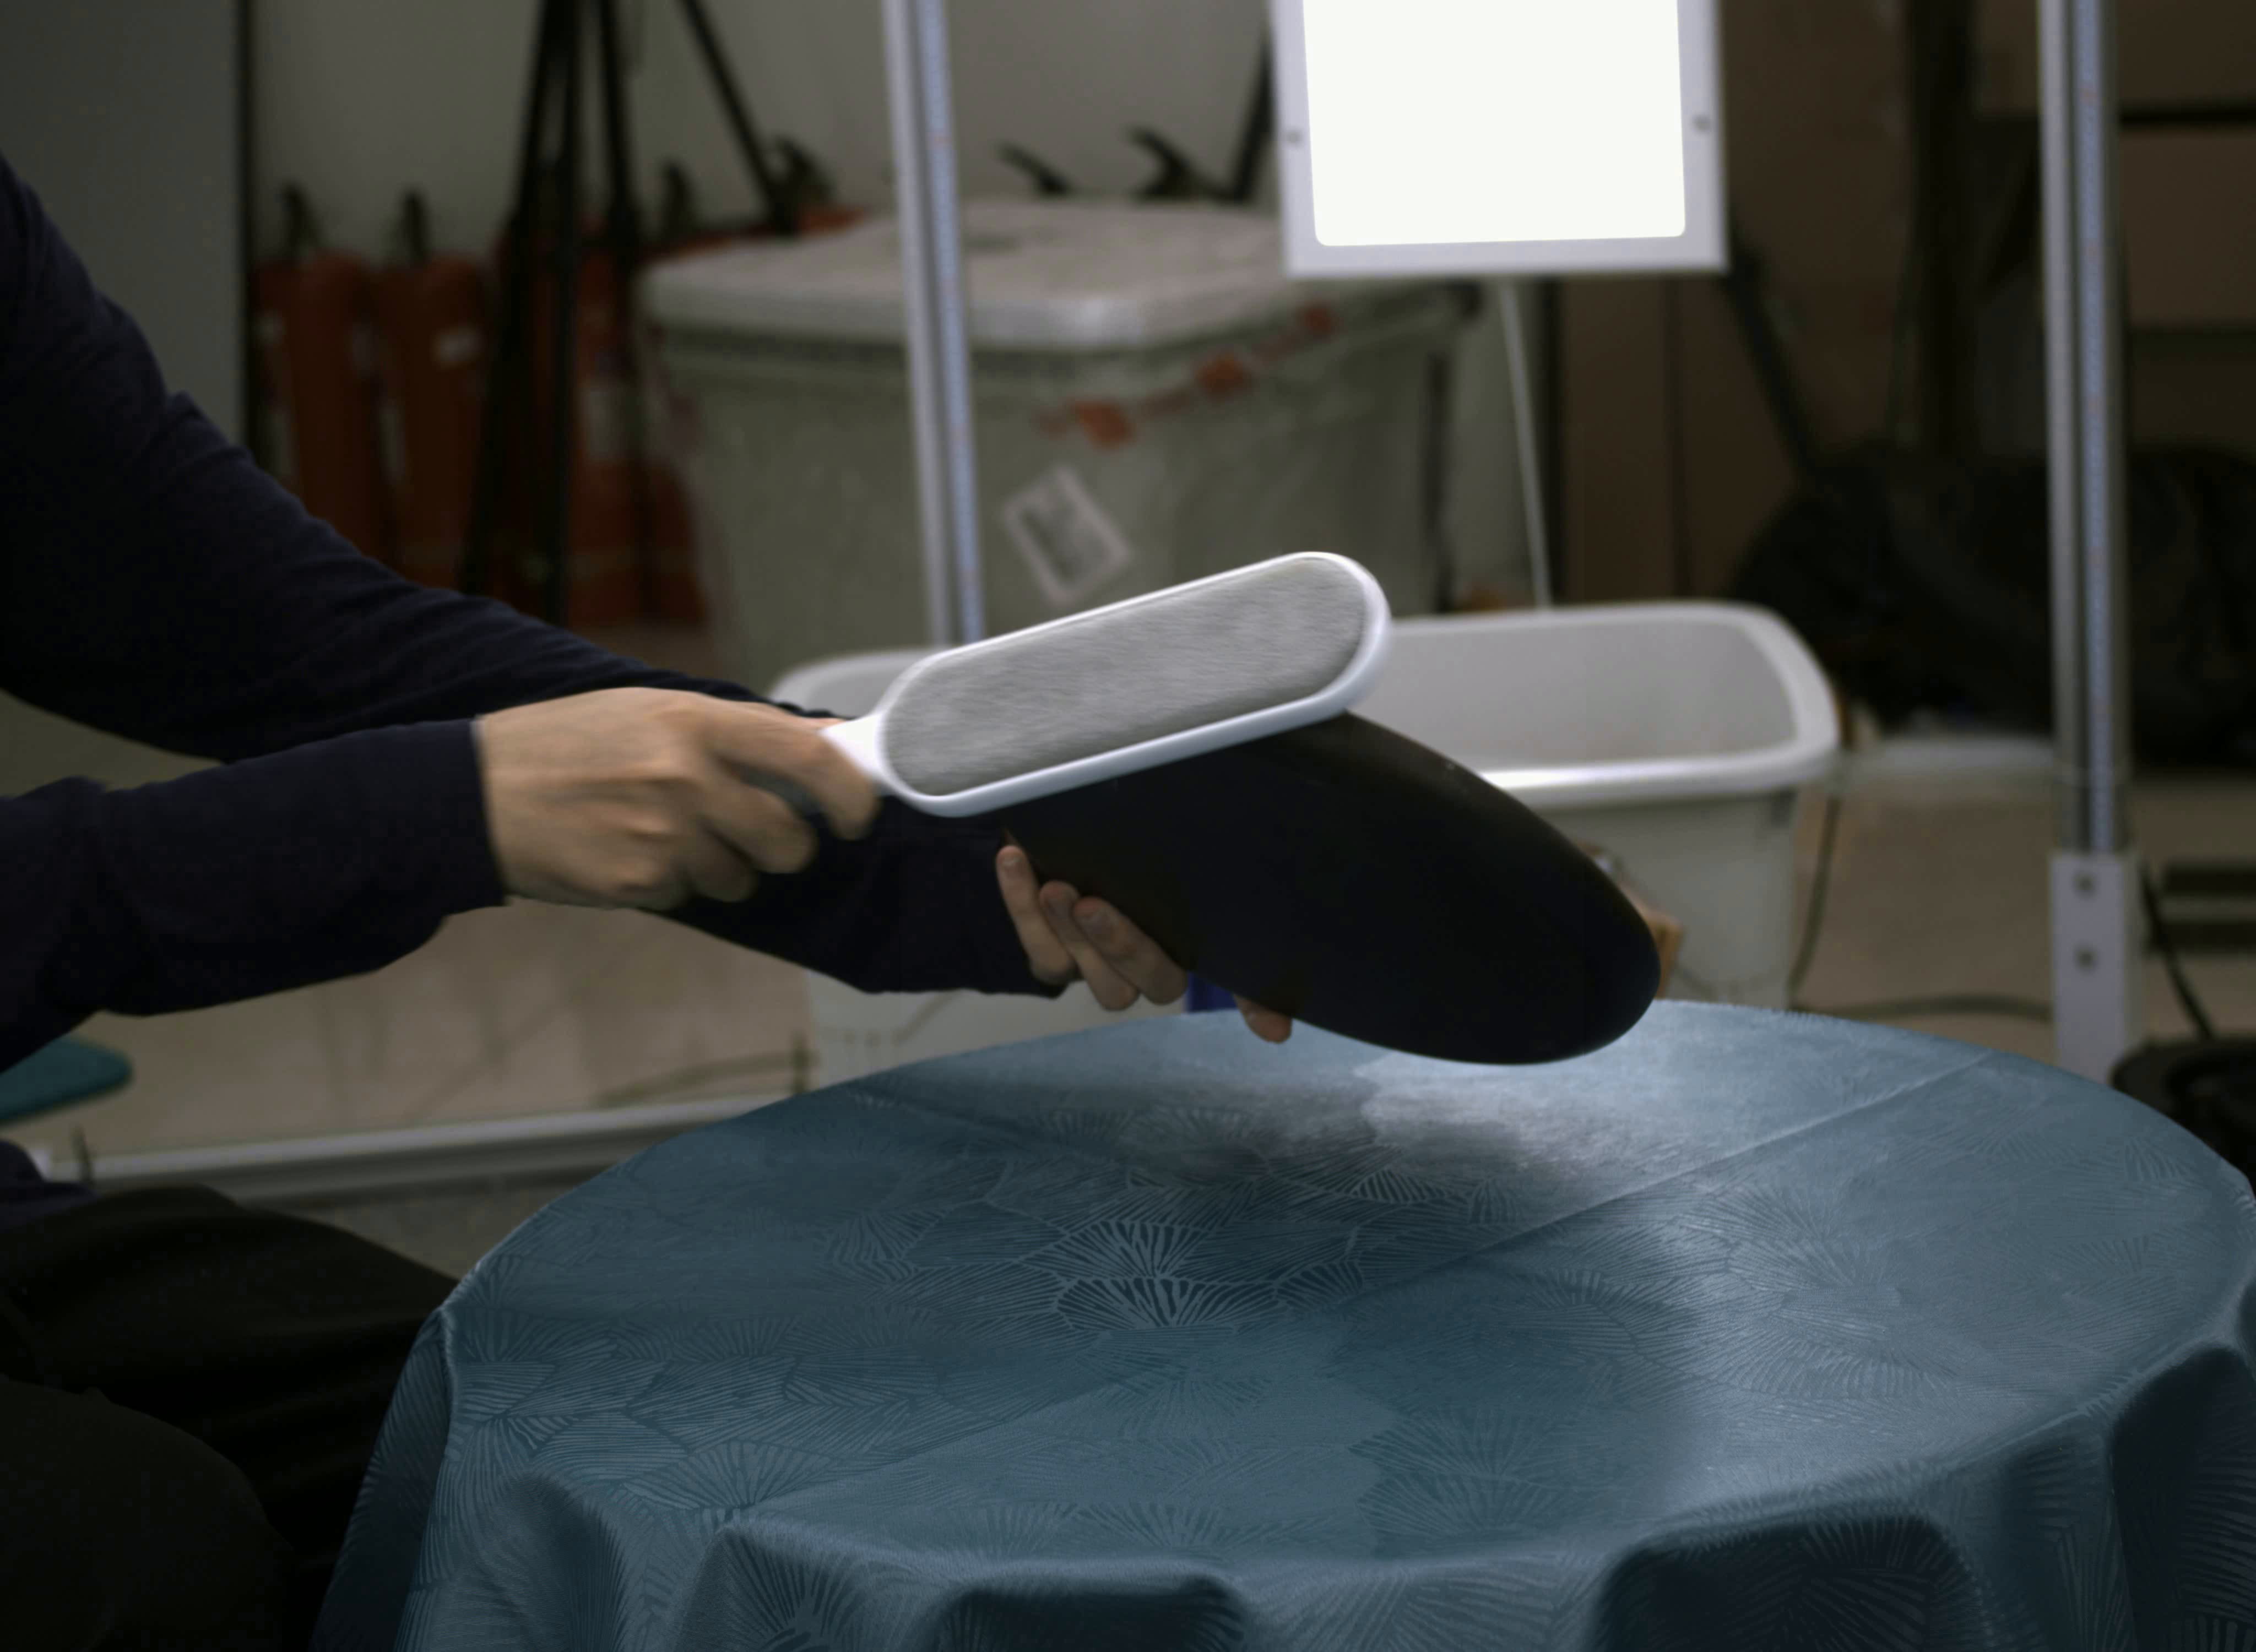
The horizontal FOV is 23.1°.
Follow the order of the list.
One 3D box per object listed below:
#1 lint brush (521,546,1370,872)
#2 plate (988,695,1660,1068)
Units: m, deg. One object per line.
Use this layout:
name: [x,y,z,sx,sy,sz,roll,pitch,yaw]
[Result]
lint brush: [-0.064,-0.033,1.810,0.313,0.060,0.020,-15,-22,22]
plate: [0.062,0.014,1.887,0.260,0.251,0.029,7,61,40]
